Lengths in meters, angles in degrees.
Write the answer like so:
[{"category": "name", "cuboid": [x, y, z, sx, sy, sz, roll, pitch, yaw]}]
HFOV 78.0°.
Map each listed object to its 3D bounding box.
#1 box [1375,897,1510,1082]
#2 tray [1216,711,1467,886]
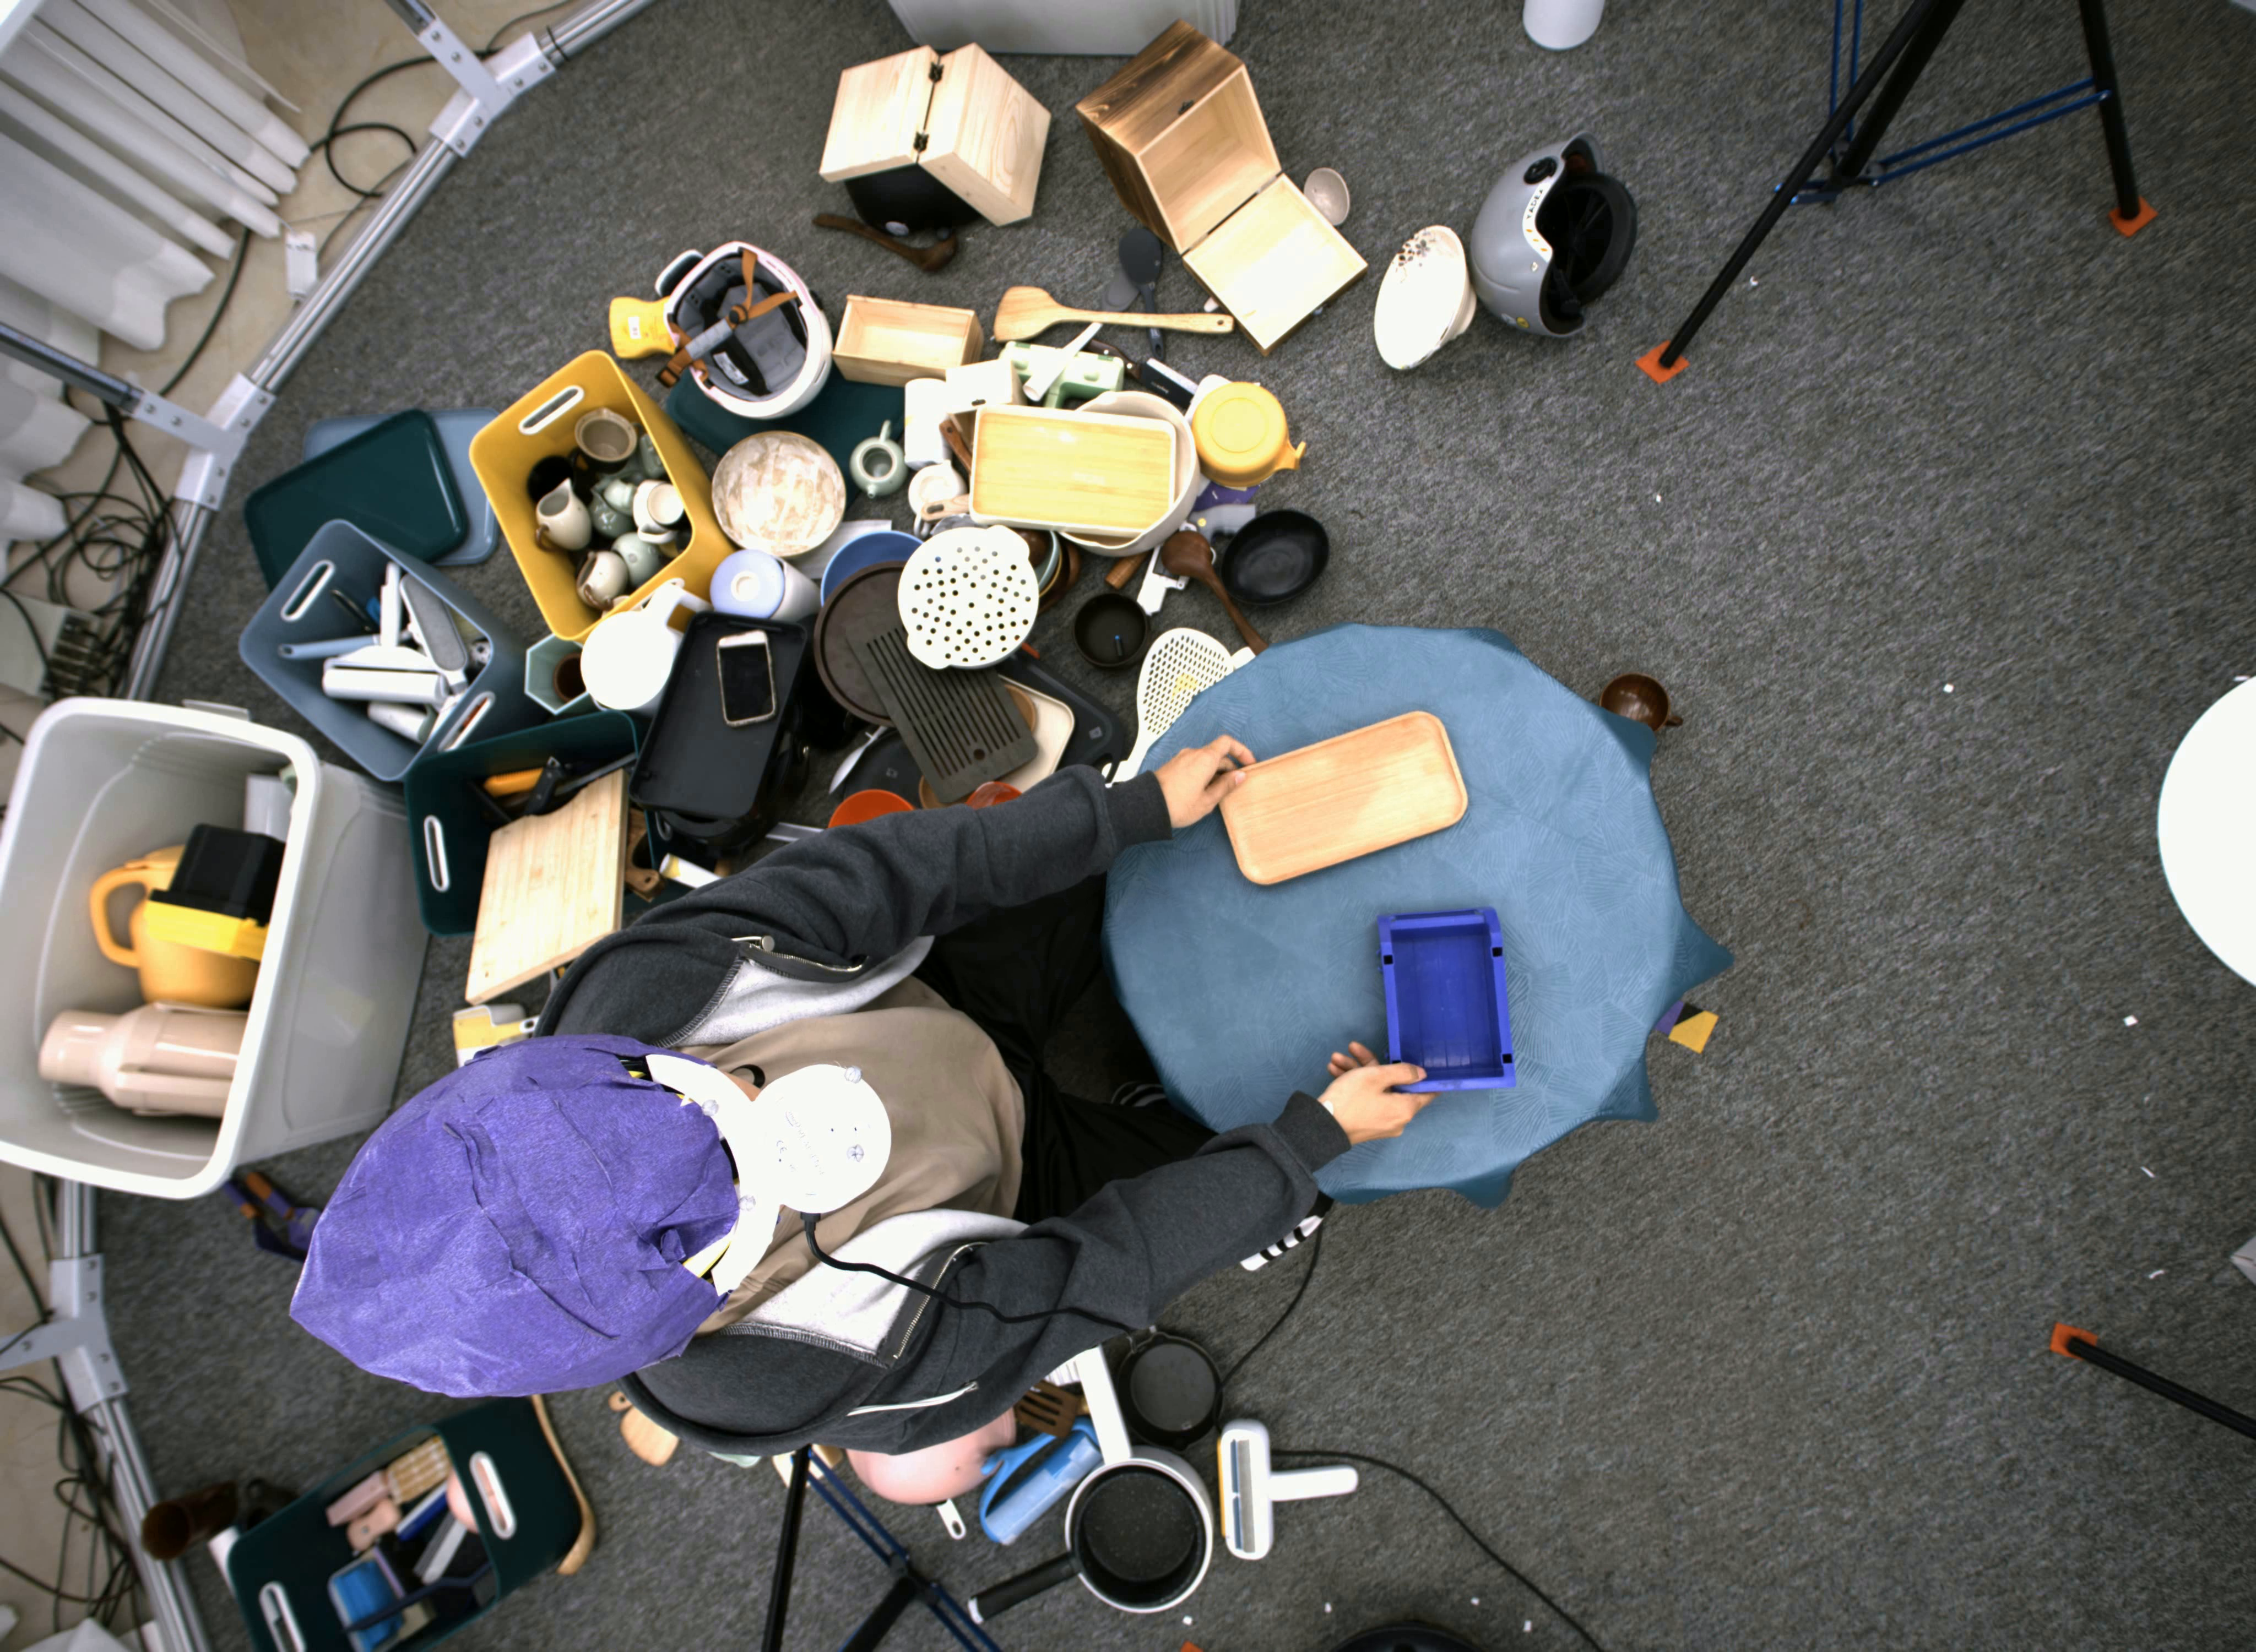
[{"category": "box", "cuboid": [0.317, 0.162, 1.404, 0.125, 0.081, 0.179, -3, 89, 10]}, {"category": "tray", "cuboid": [0.224, -0.030, 1.453, 0.252, 0.023, 0.130, -18, 89, 7]}]
